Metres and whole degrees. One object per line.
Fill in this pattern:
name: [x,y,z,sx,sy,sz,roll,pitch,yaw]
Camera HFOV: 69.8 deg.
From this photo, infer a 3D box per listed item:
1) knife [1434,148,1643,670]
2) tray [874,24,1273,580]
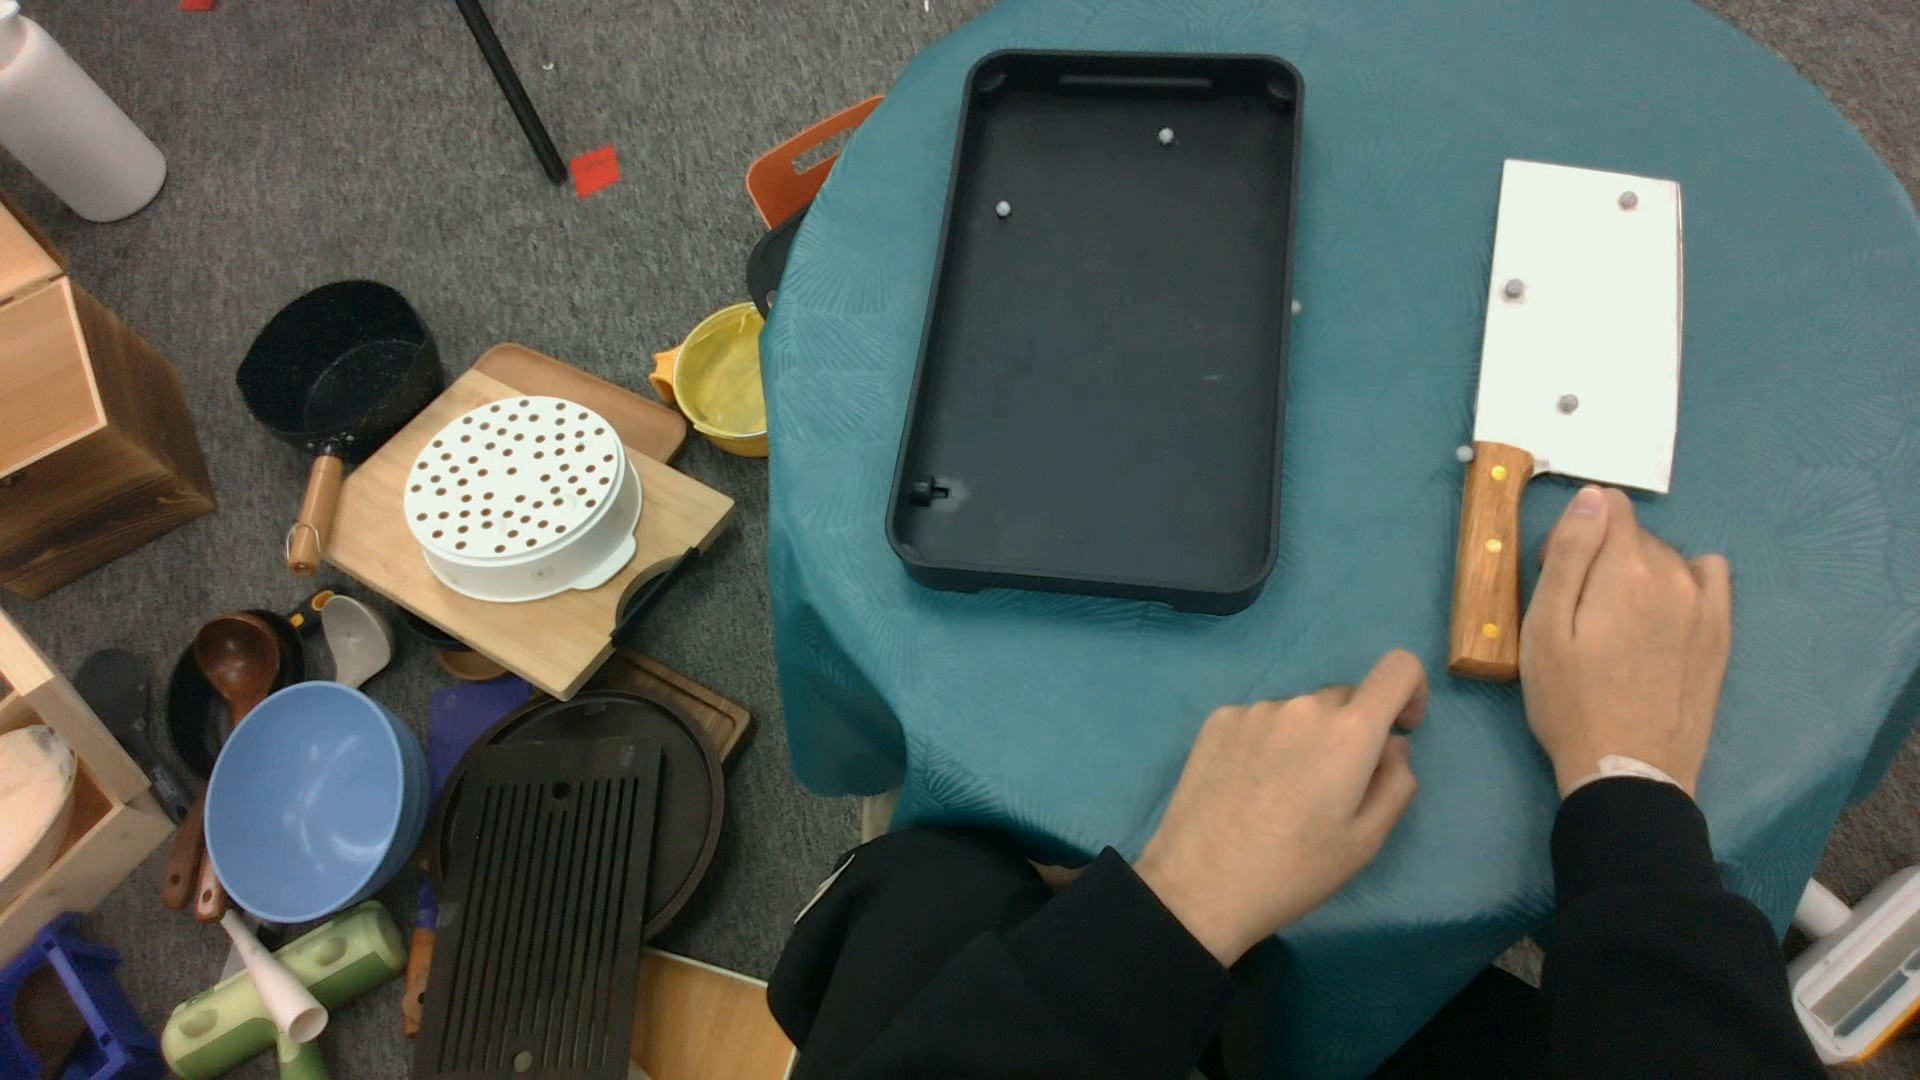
knife: [0.283,-0.073,0.670,0.093,0.021,0.307,11,65,9]
tray: [0.065,-0.133,0.709,0.184,0.037,0.319,3,66,7]
